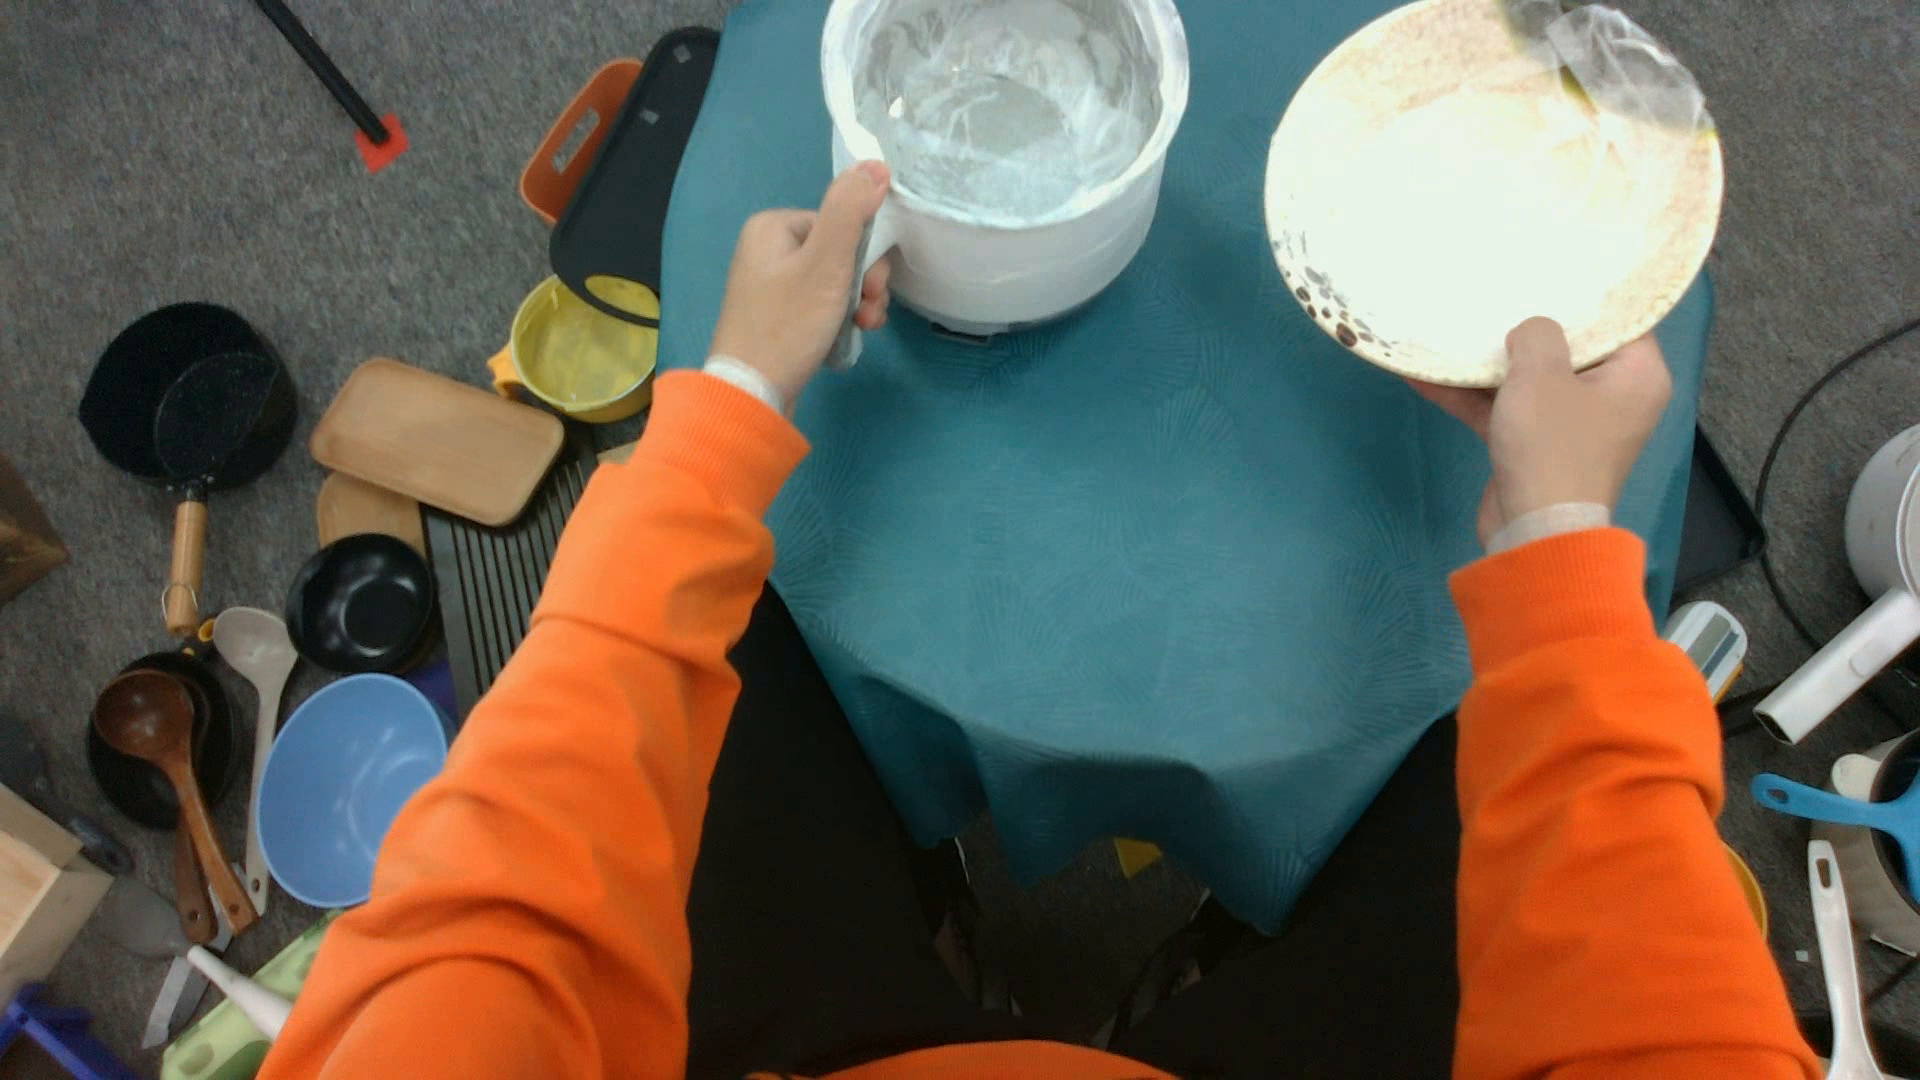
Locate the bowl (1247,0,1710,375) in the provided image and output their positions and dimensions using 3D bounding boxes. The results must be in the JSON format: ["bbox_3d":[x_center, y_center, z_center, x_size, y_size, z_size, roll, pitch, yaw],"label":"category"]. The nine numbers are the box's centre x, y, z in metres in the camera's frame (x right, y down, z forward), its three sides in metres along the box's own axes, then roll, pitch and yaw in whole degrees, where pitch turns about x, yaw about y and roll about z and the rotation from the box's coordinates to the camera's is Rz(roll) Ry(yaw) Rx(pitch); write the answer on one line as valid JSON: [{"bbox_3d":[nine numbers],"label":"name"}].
[{"bbox_3d":[0.247,-0.174,0.676,0.204,0.078,0.204,-1,84,14],"label":"bowl"}]

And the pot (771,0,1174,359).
[{"bbox_3d":[-0.007,-0.194,0.708,0.179,0.136,0.234,40,76,9],"label":"pot"}]
